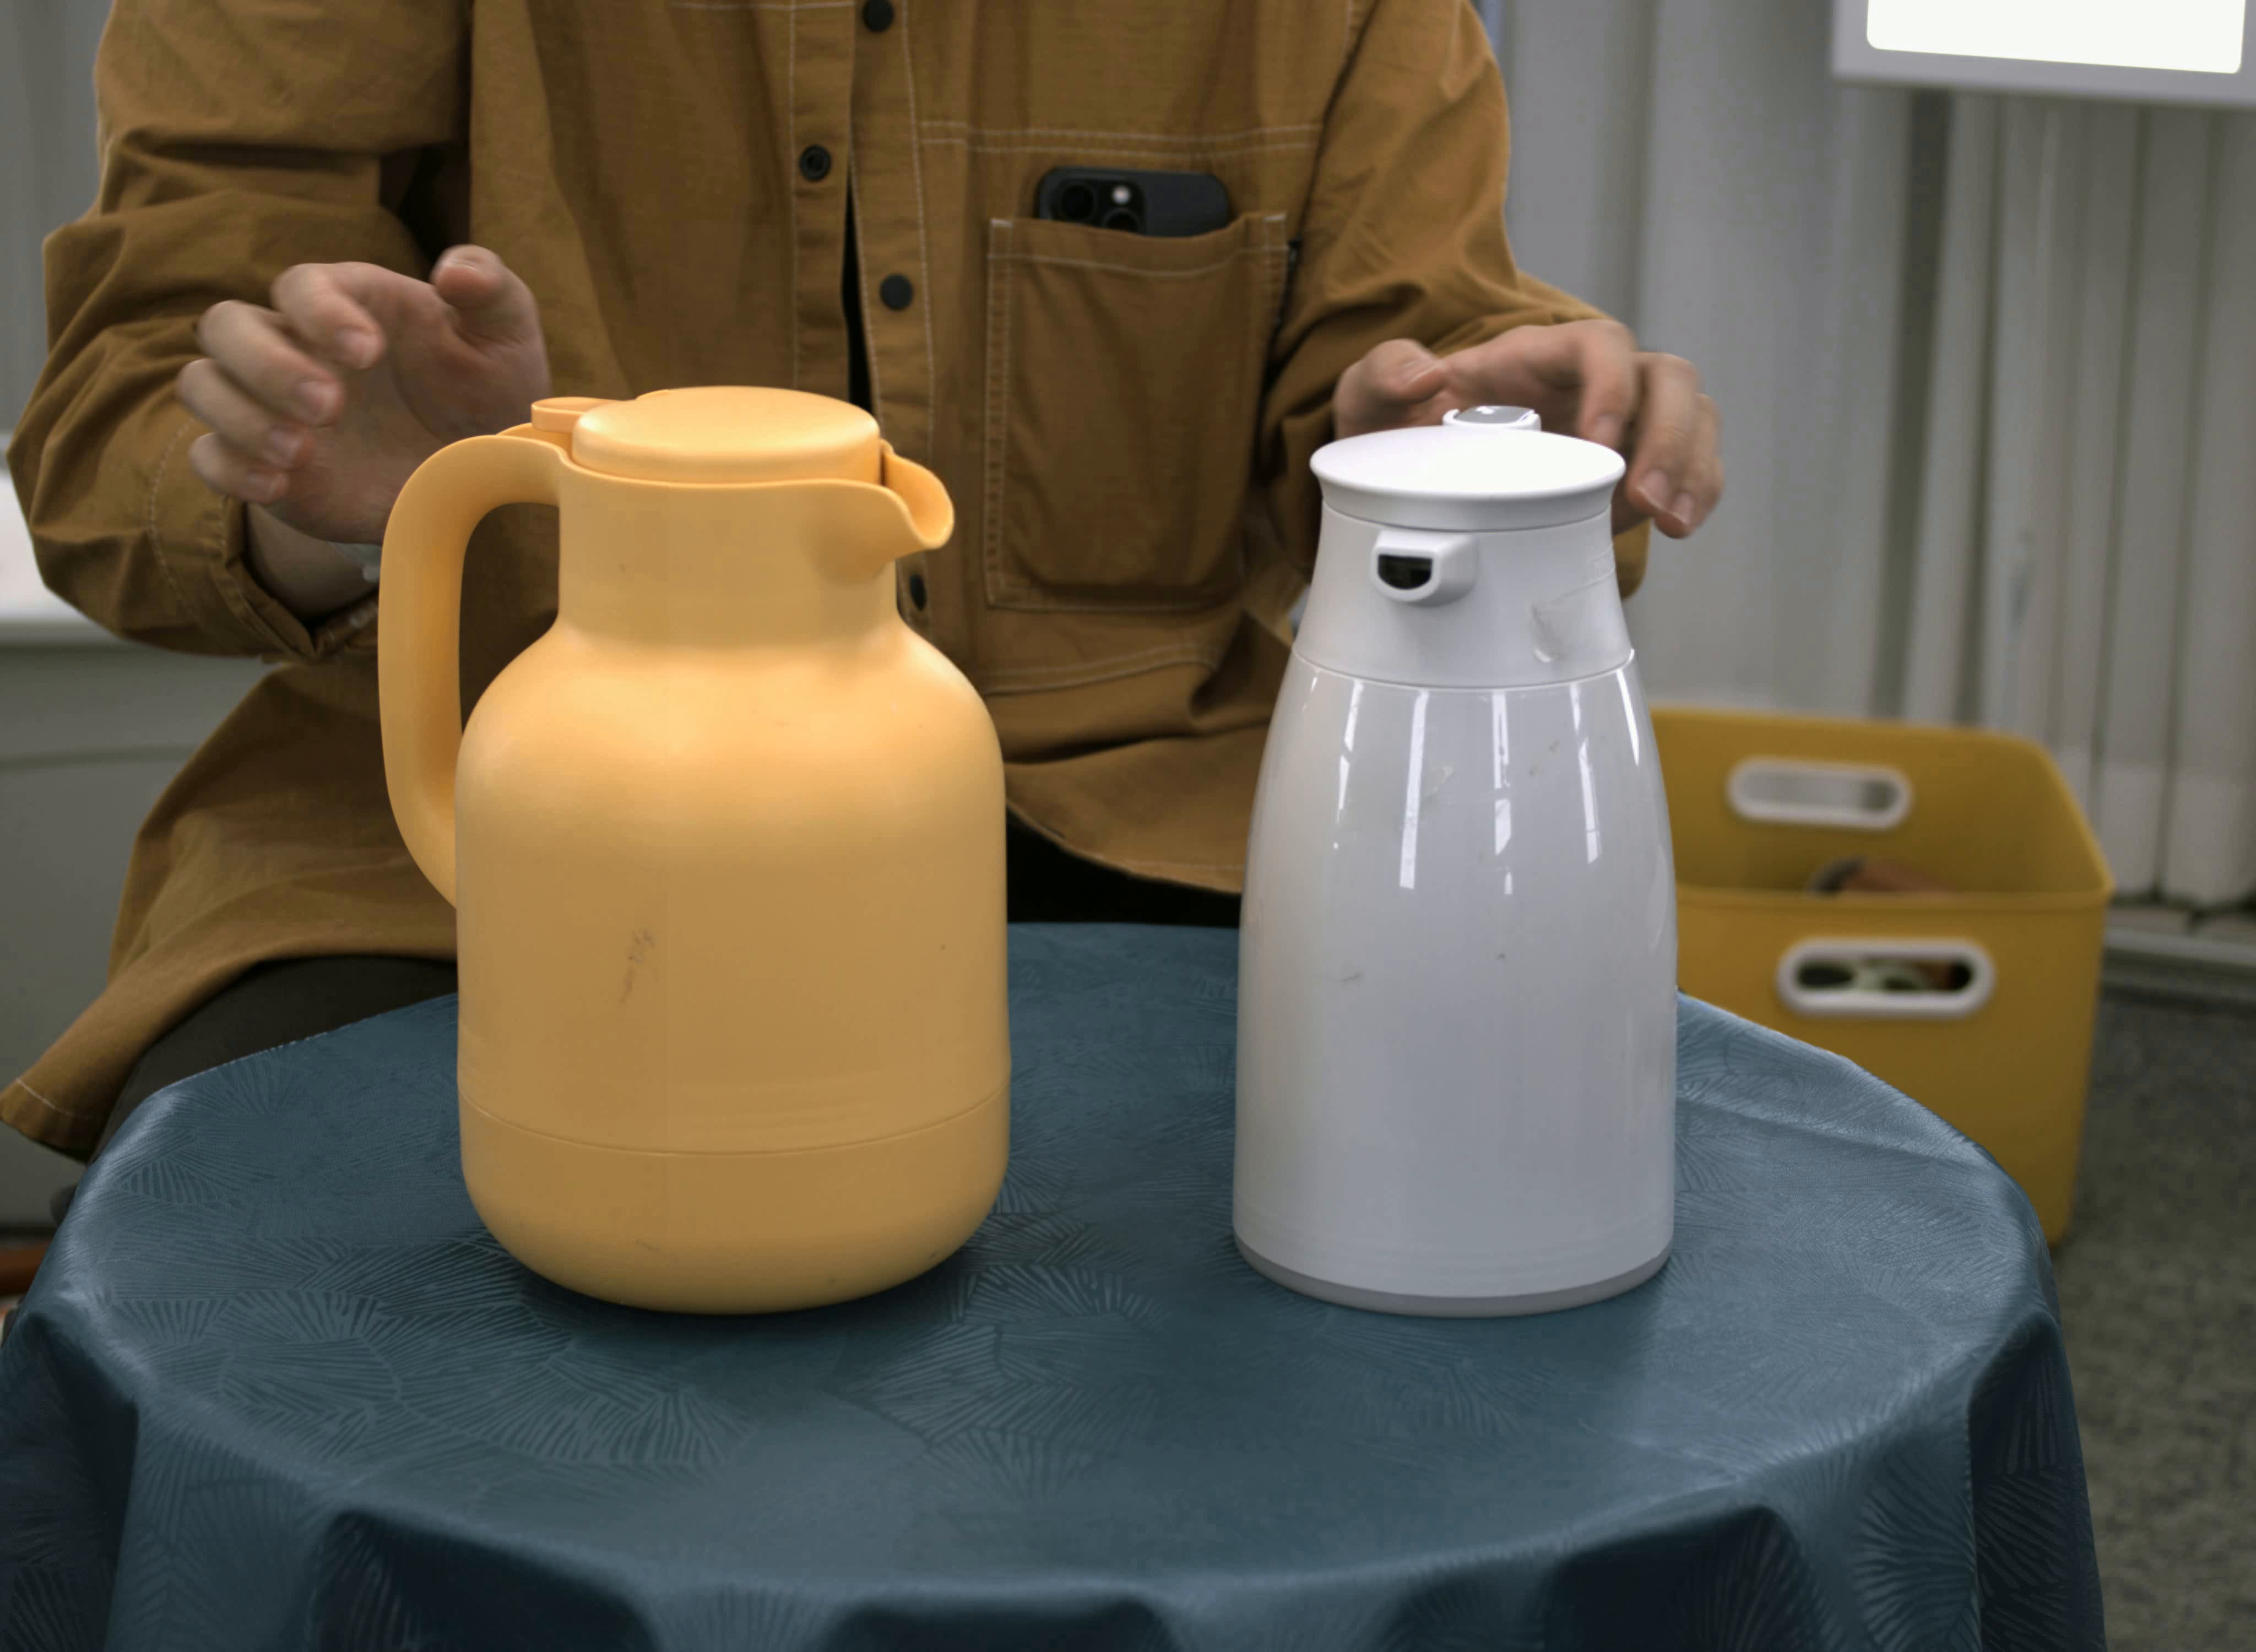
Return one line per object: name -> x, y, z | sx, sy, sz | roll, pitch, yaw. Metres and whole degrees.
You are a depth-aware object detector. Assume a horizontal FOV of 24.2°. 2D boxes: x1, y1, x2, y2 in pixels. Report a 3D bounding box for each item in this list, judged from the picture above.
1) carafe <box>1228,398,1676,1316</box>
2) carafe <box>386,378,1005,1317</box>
carafe -> 0.102, 0.000, 1.563 | 0.131, 0.250, 0.168 | 5, 16, 17
carafe -> -0.131, -0.001, 1.541 | 0.200, 0.262, 0.164 | 12, 18, 32
